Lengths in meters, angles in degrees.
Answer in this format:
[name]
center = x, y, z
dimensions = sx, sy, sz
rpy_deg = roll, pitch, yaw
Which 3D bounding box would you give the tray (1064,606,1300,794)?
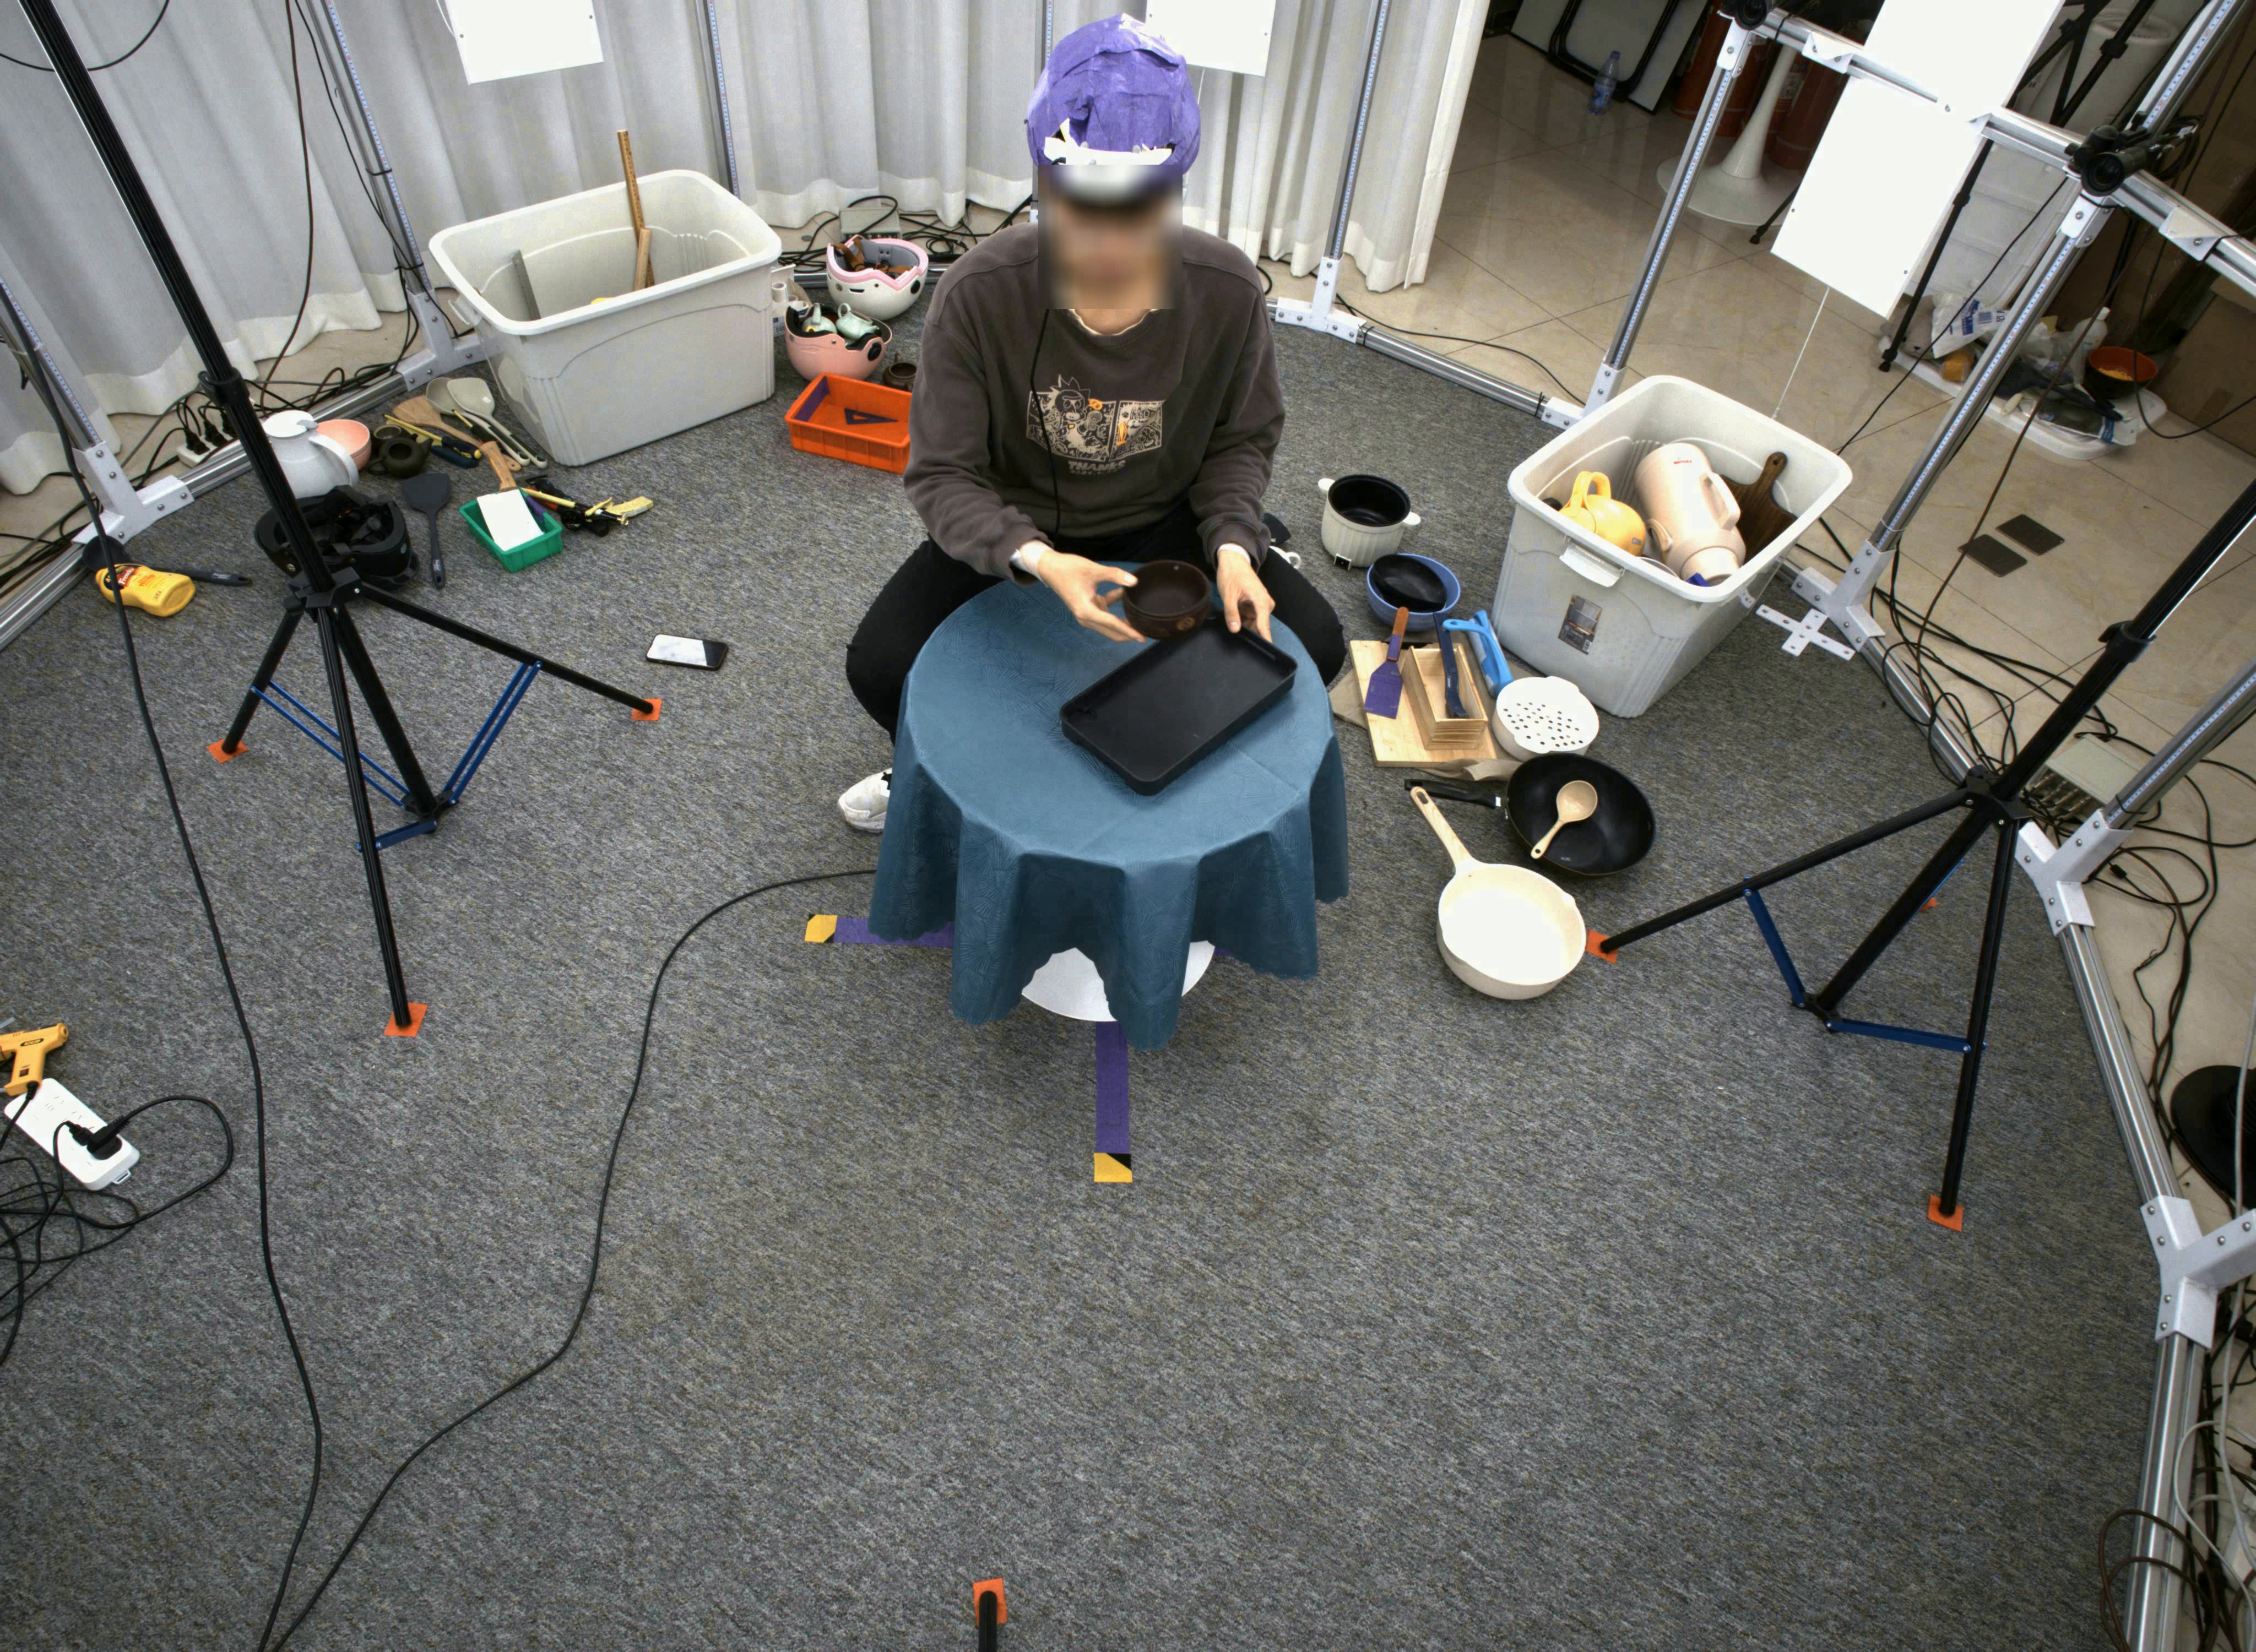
[tray]
center = 0.077, -0.182, 1.797
dimensions = 0.187, 0.036, 0.321
rpy_deg = 36, 59, 26

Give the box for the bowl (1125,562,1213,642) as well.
[bowl]
center = 0.056, -0.292, 1.722
dimensions = 0.118, 0.068, 0.121
rpy_deg = -3, 46, 2
